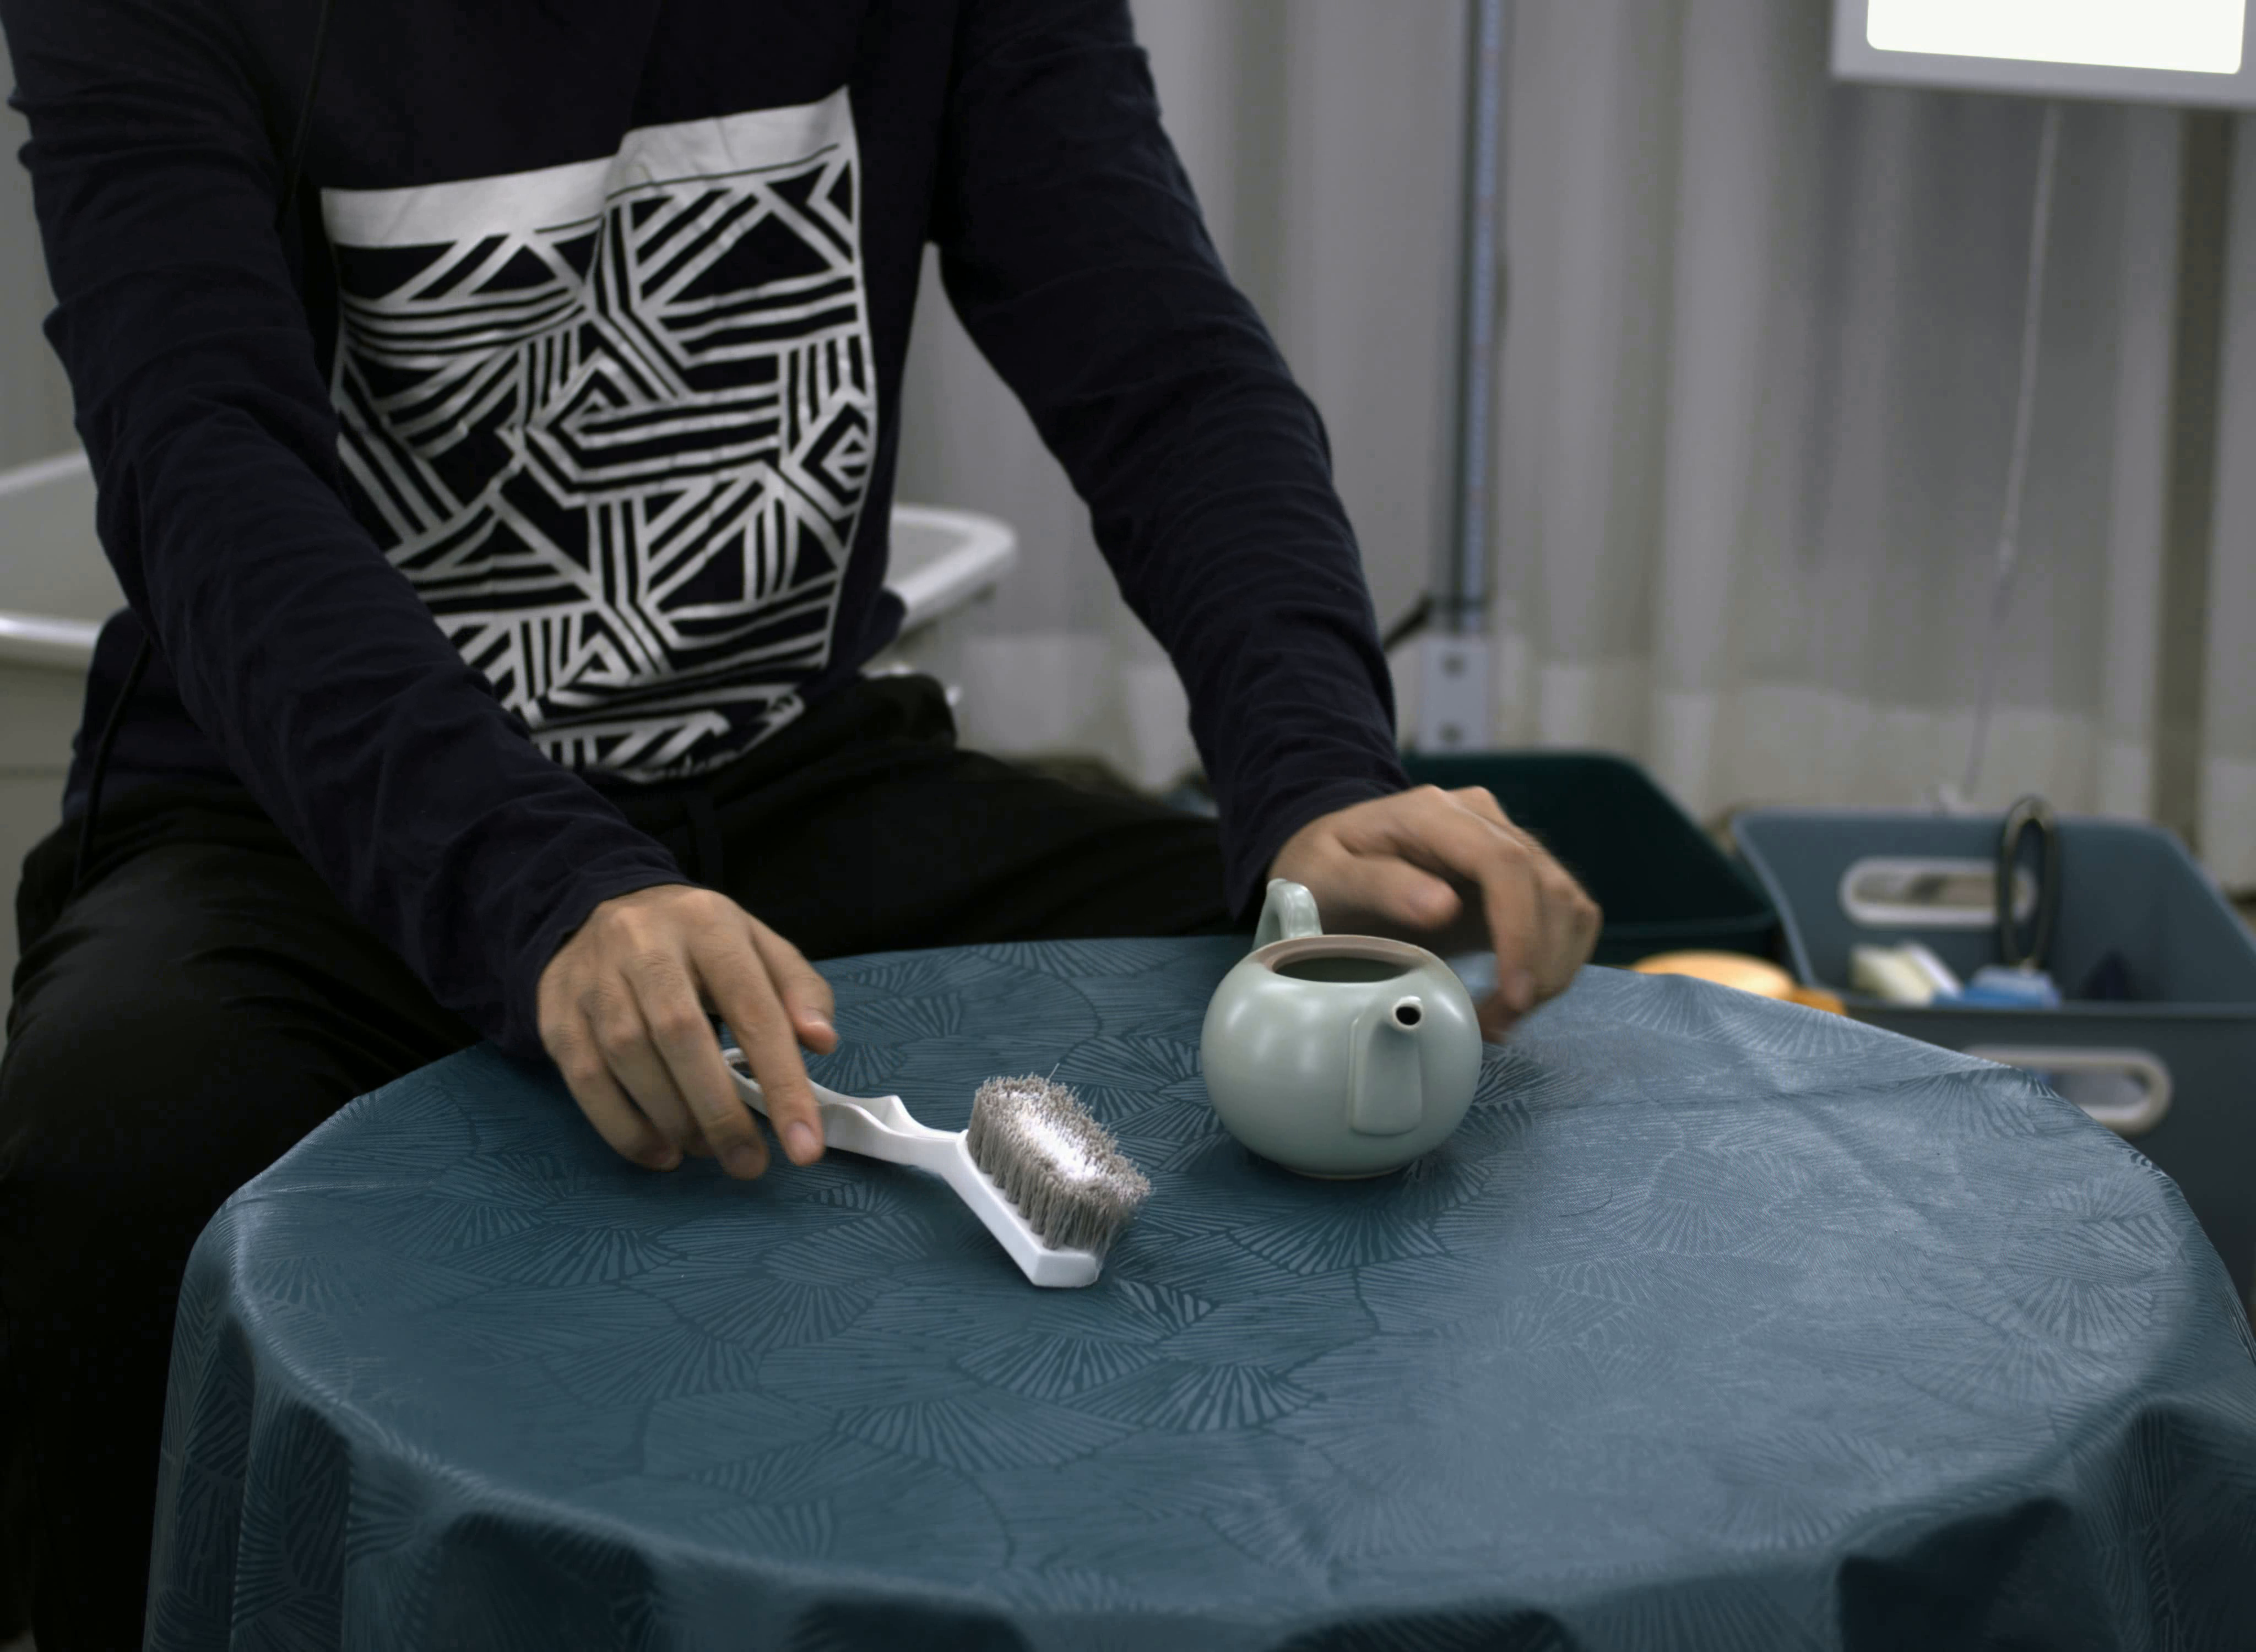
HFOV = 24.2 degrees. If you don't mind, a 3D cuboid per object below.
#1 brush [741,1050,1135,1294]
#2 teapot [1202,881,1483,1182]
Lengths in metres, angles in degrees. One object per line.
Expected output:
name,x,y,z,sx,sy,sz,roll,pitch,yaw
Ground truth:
brush,-0.065,0.087,1.628,0.034,0.050,0.240,-11,19,-26
teapot,0.067,0.070,1.647,0.088,0.075,0.142,-4,18,-12
